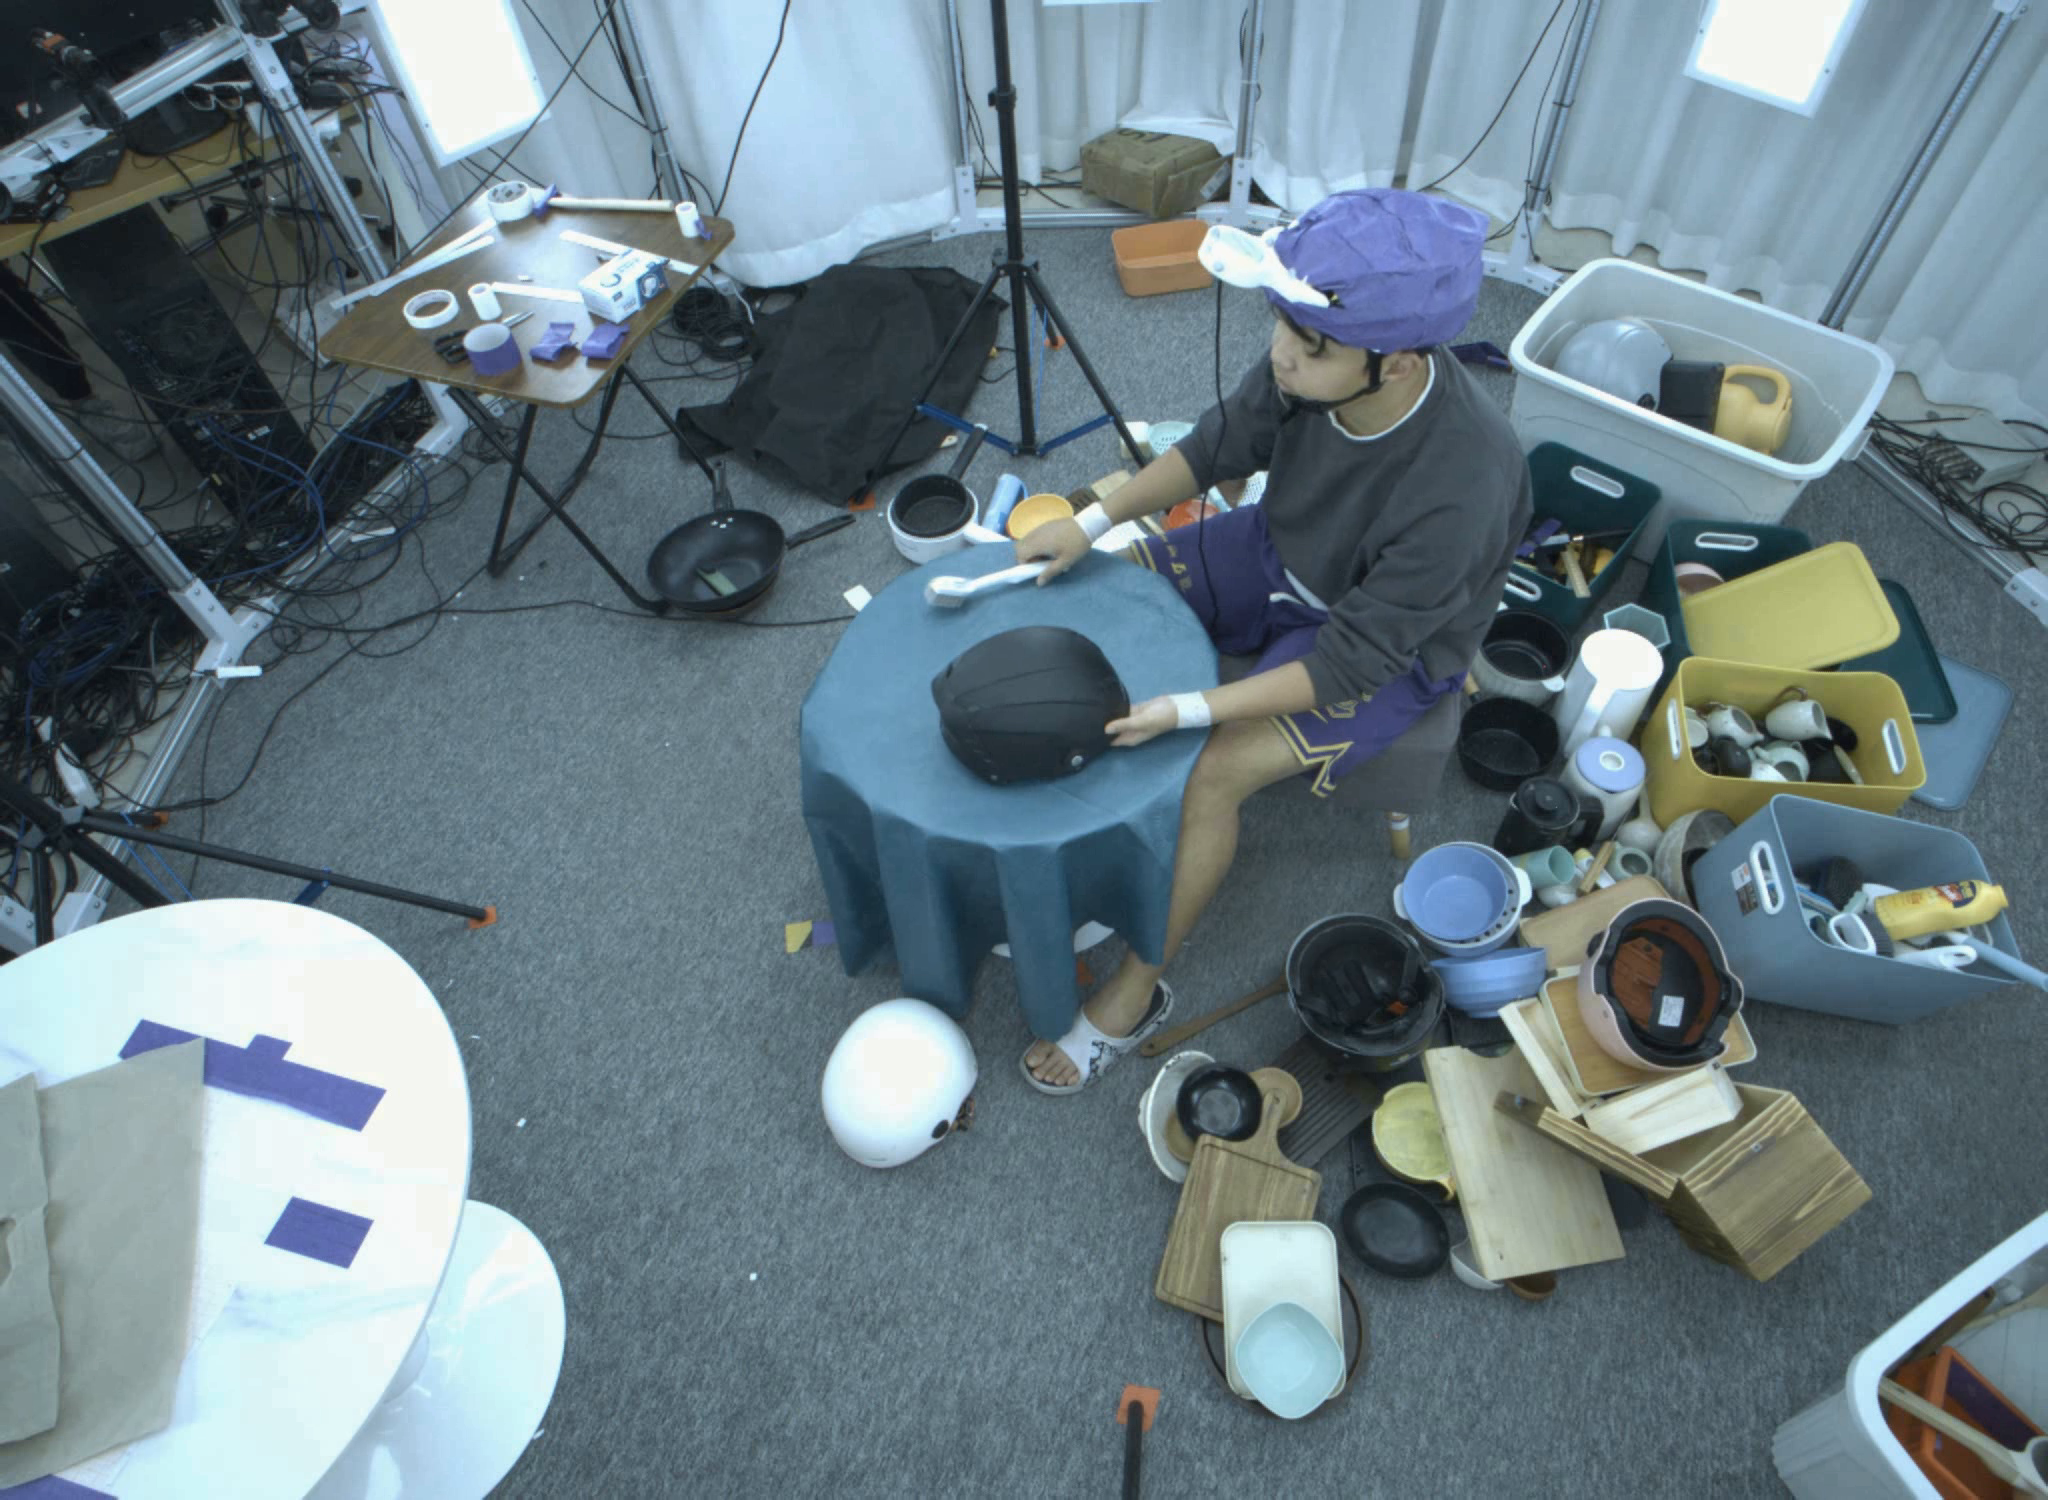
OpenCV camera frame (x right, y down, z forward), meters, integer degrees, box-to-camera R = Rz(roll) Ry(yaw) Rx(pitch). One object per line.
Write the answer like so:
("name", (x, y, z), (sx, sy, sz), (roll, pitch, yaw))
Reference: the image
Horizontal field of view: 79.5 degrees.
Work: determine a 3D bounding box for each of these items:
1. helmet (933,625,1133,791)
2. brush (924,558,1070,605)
("helmet", (0.010, -0.081, 1.749), (0.277, 0.174, 0.242), (-17, 56, -5))
("brush", (-0.042, -0.270, 1.969), (0.247, 0.050, 0.034), (-12, 53, -23))
